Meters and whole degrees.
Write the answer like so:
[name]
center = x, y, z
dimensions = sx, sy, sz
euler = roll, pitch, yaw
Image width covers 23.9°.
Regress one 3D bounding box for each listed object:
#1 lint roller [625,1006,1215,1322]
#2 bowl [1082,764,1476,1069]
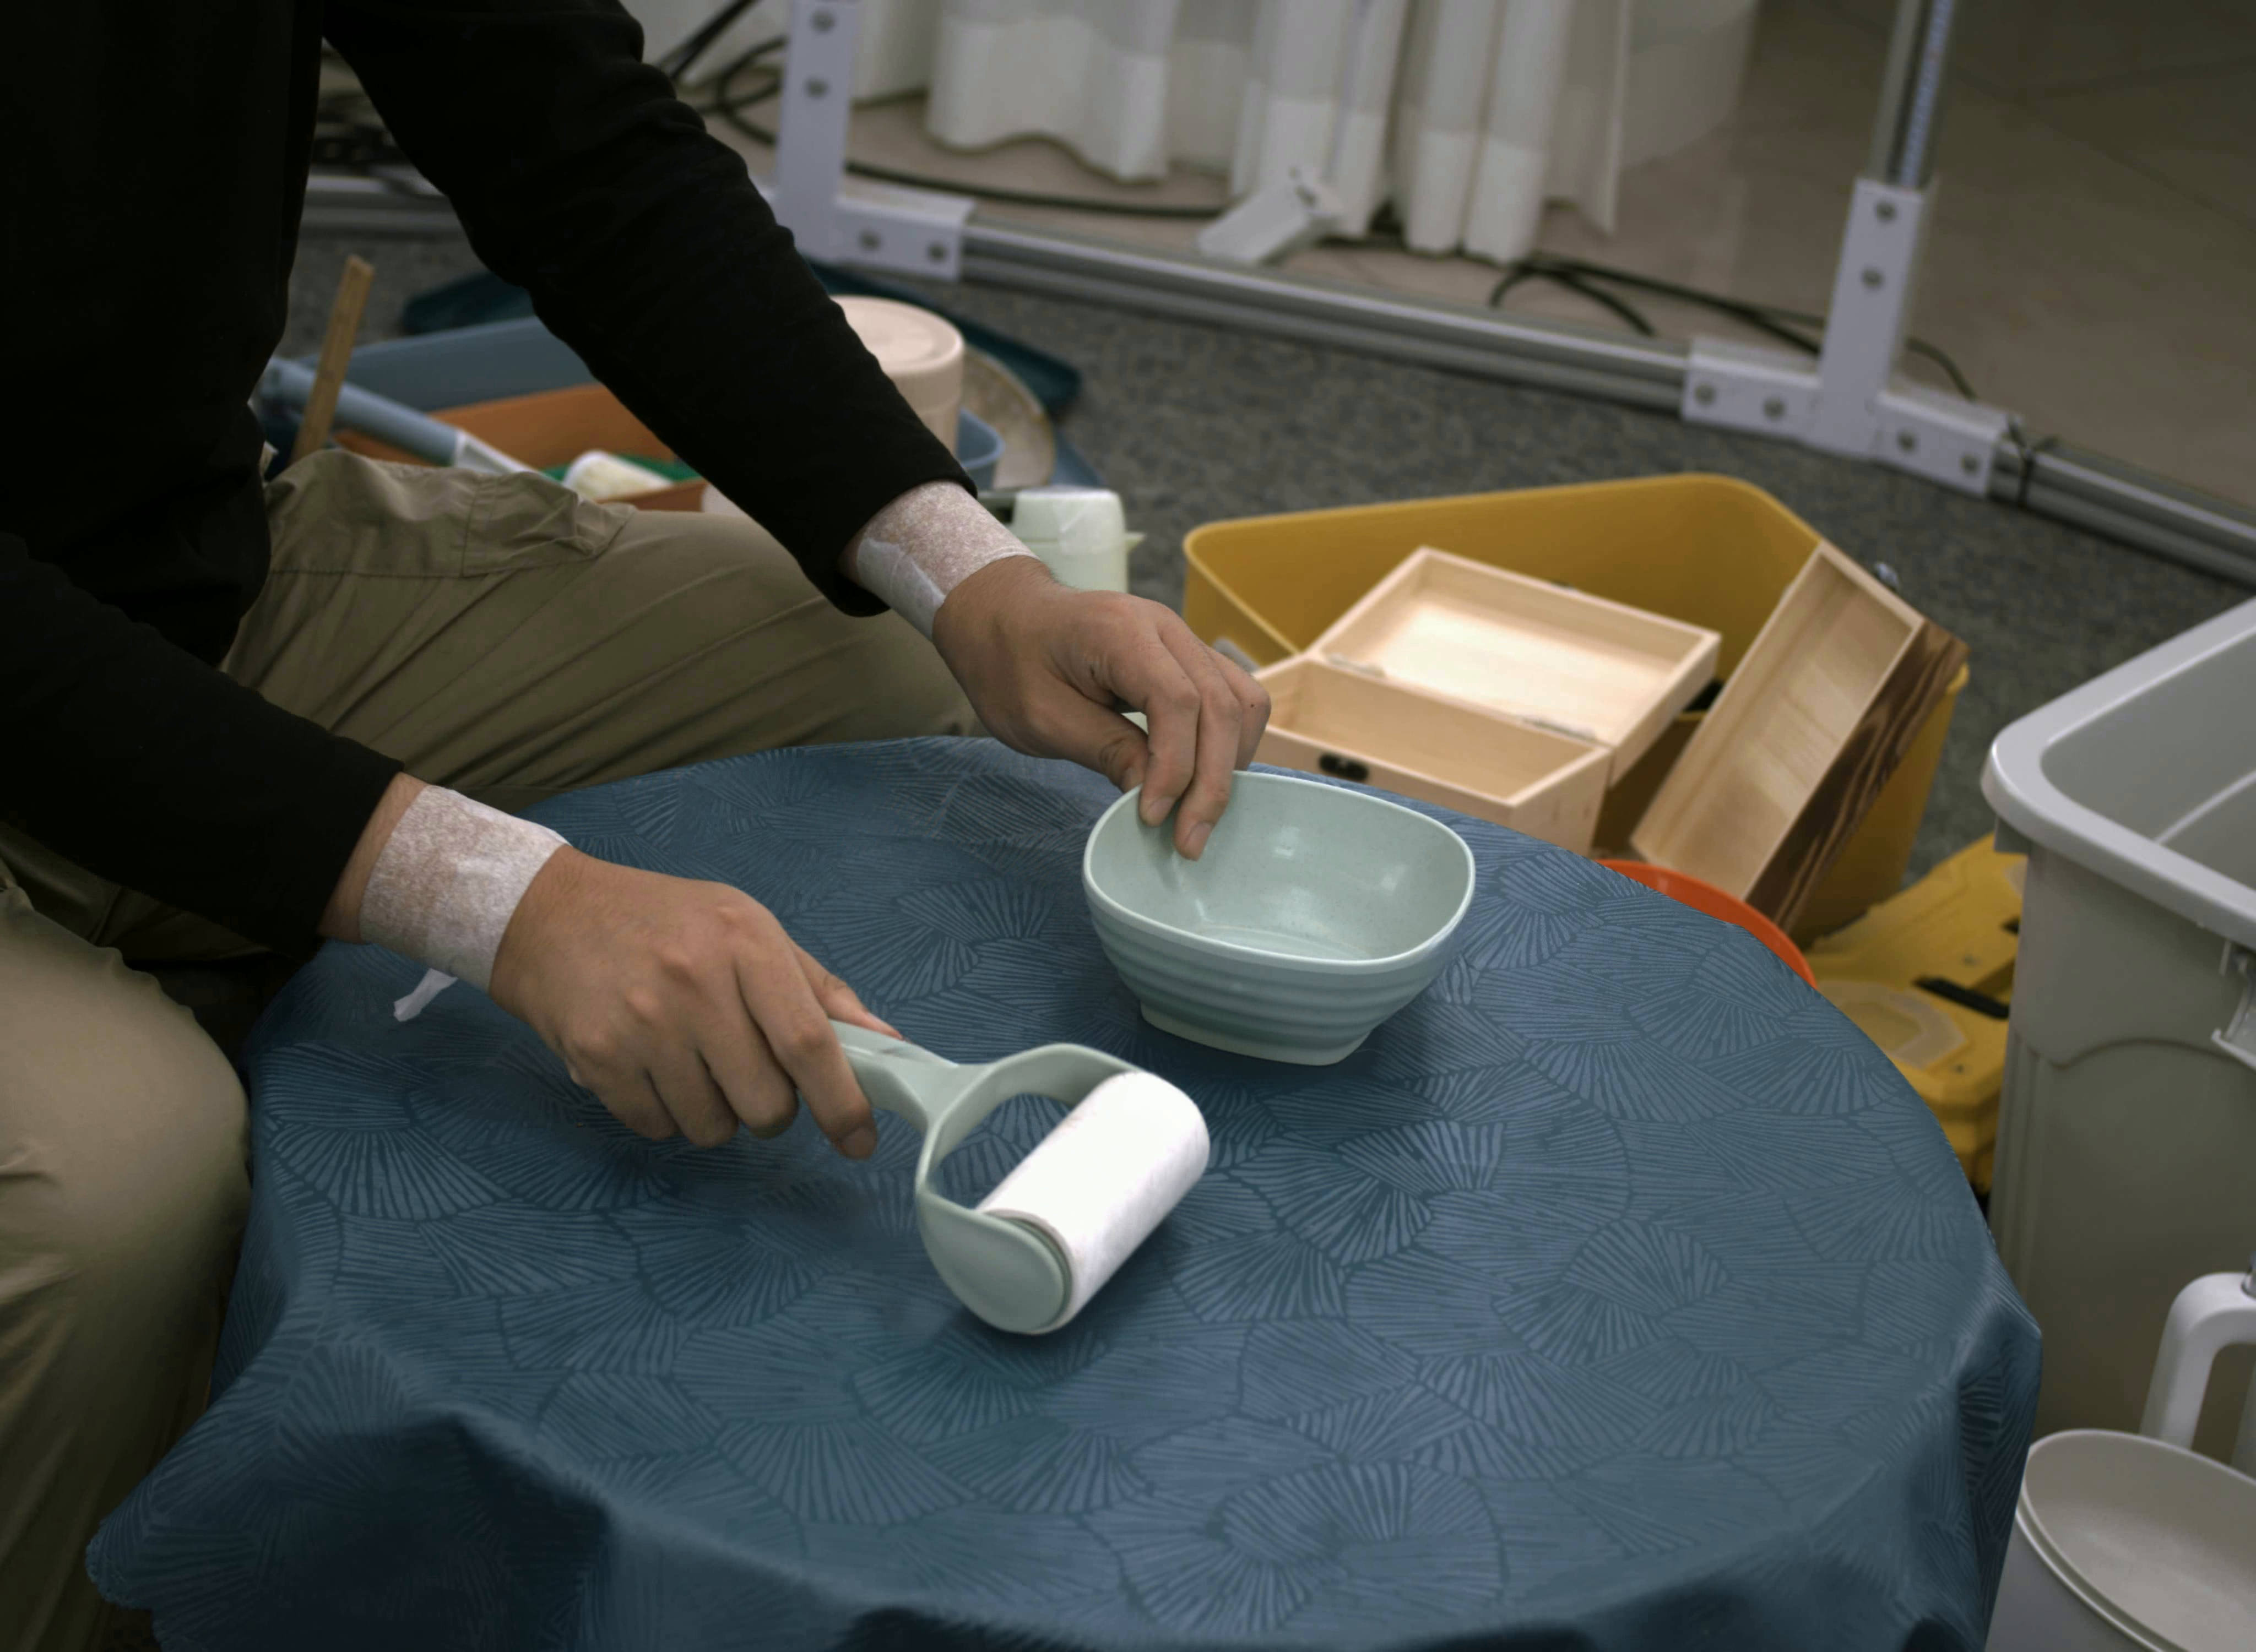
[lint roller]
center = -0.077, 0.091, 1.768
dimensions = 0.198, 0.048, 0.116
euler = 23, 35, 17
[bowl]
center = 0.051, 0.038, 1.919
dimensions = 0.151, 0.058, 0.152
euler = 6, 28, -4
